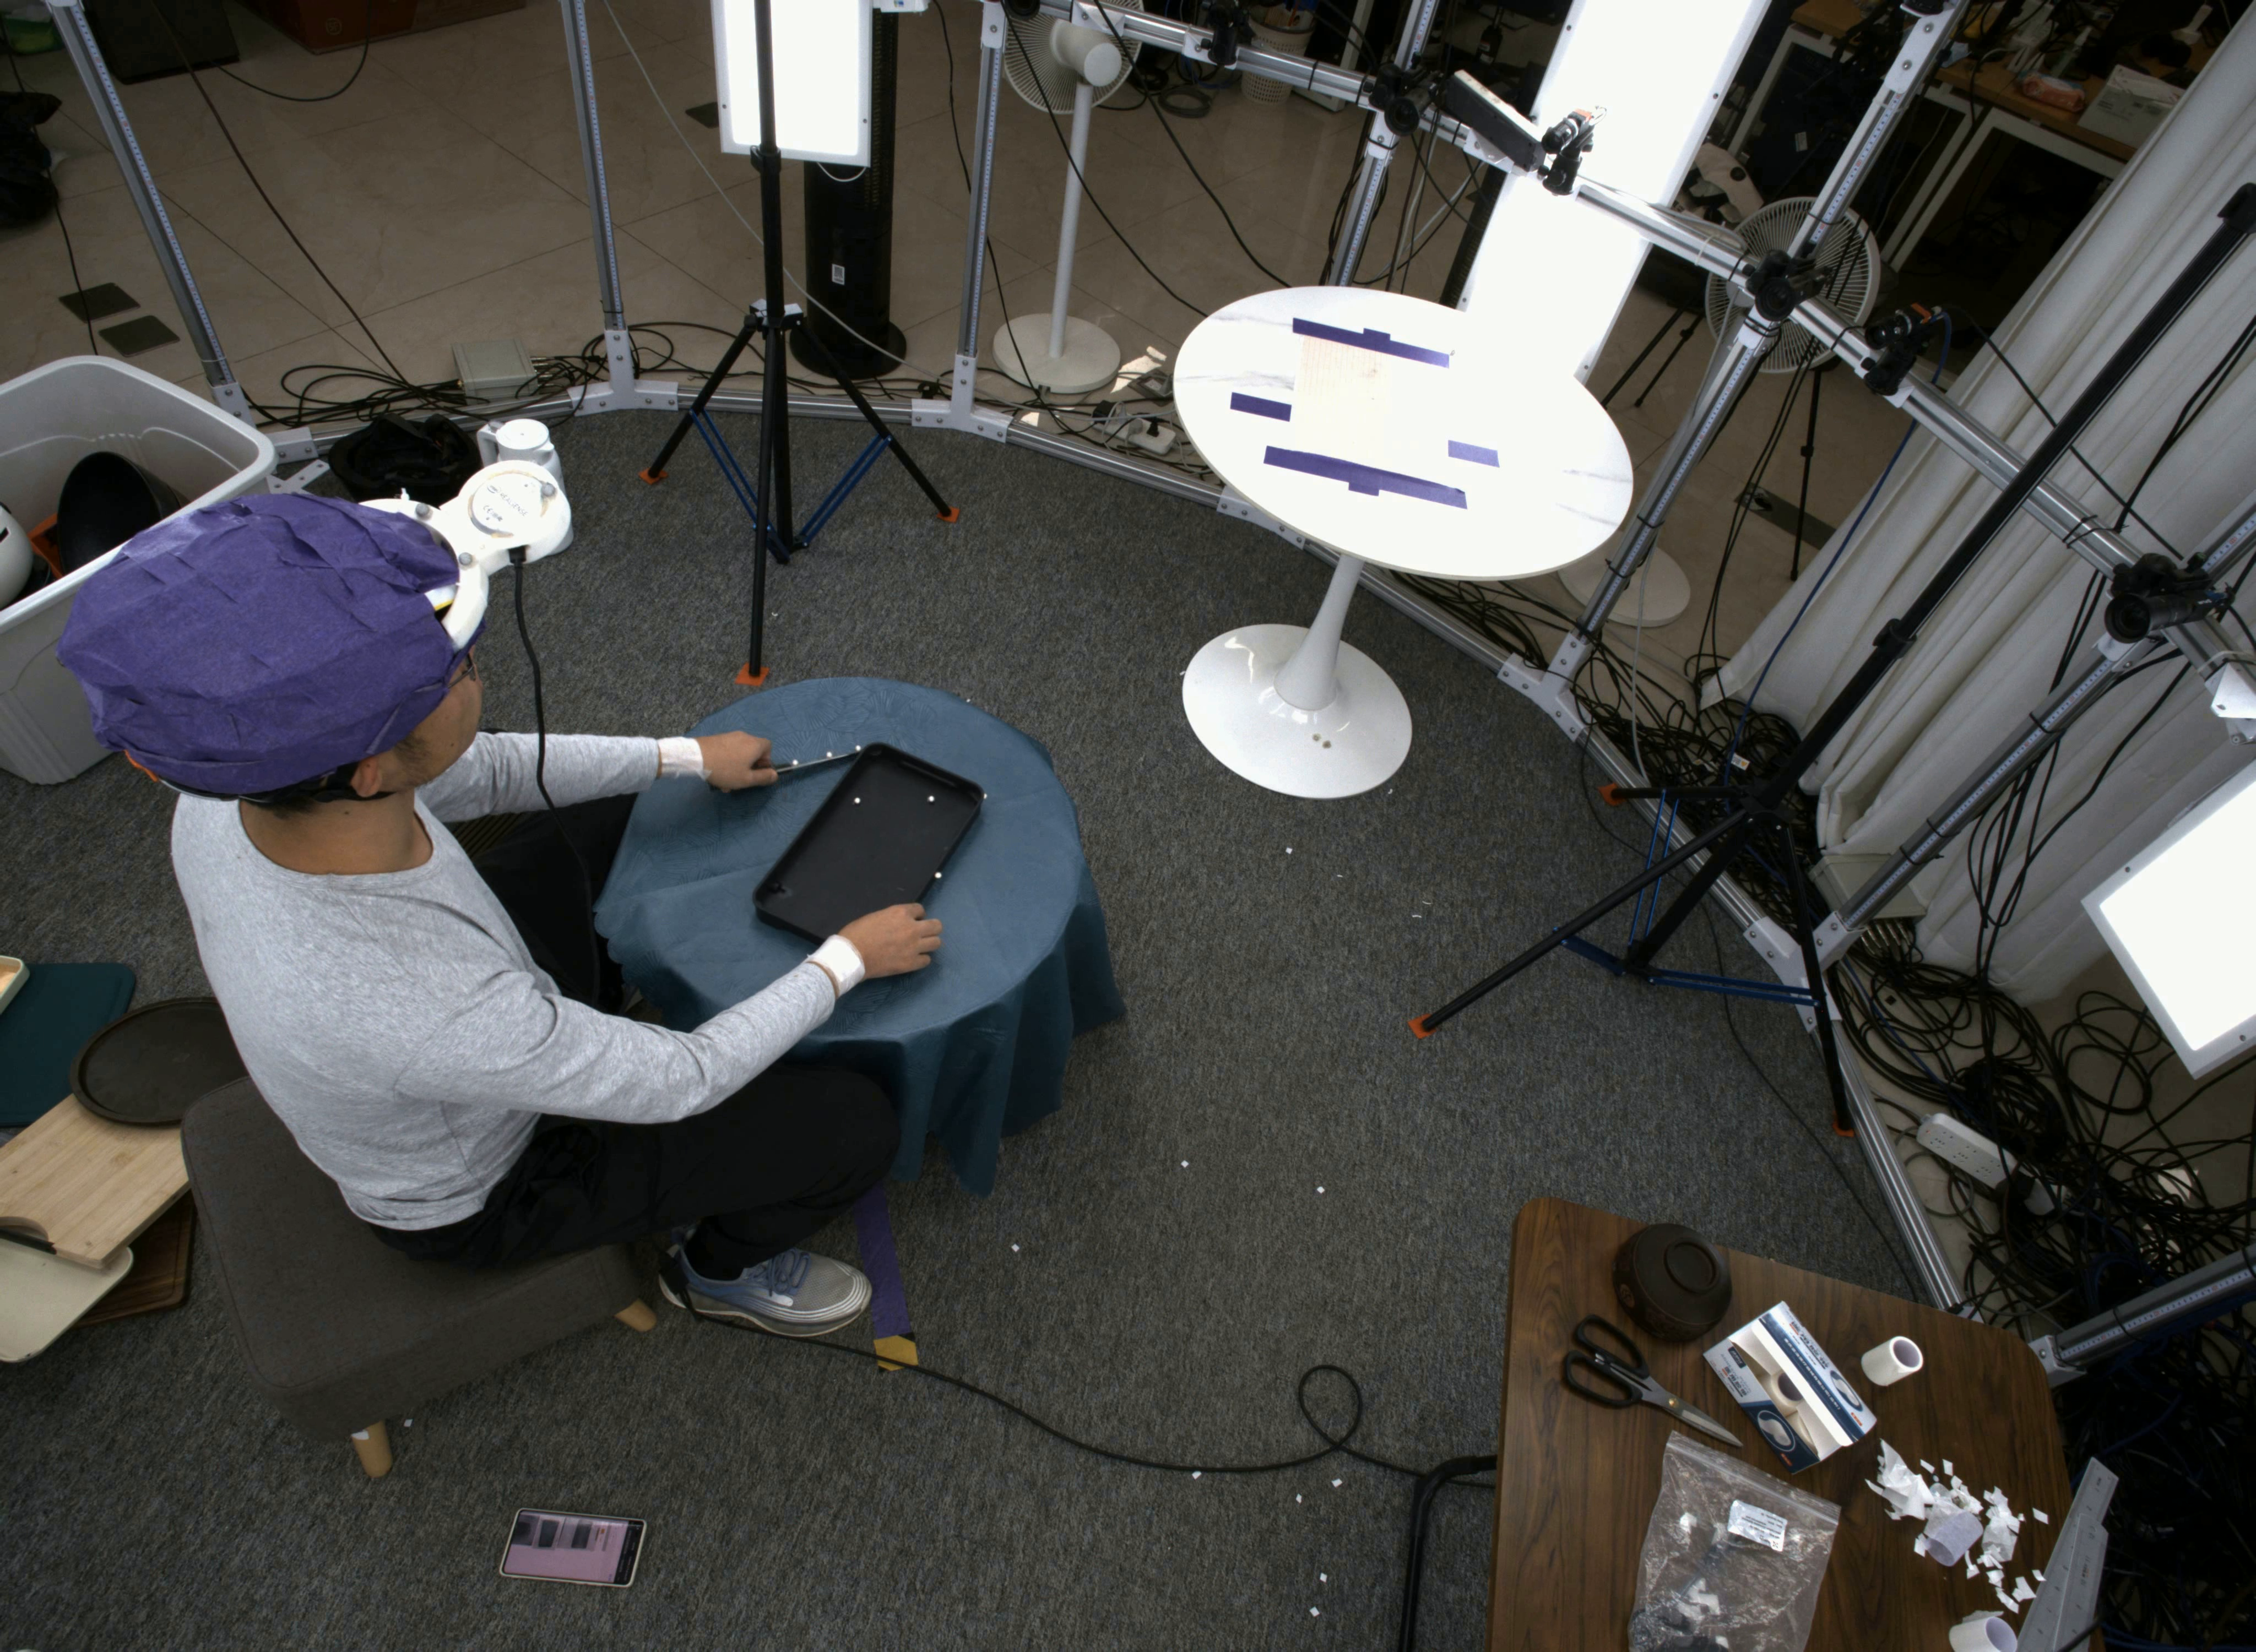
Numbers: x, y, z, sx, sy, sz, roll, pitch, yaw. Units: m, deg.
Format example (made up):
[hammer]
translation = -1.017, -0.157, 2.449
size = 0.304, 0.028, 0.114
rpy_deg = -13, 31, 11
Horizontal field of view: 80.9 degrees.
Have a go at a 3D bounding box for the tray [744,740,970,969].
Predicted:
[tray]
translation = -0.350, 0.030, 1.709
size = 0.182, 0.038, 0.315
rpy_deg = 22, 52, 3

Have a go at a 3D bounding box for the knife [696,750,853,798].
[knife]
translation = -0.472, -0.076, 1.764
size = 0.240, 0.017, 0.023
rpy_deg = -18, 19, -31
